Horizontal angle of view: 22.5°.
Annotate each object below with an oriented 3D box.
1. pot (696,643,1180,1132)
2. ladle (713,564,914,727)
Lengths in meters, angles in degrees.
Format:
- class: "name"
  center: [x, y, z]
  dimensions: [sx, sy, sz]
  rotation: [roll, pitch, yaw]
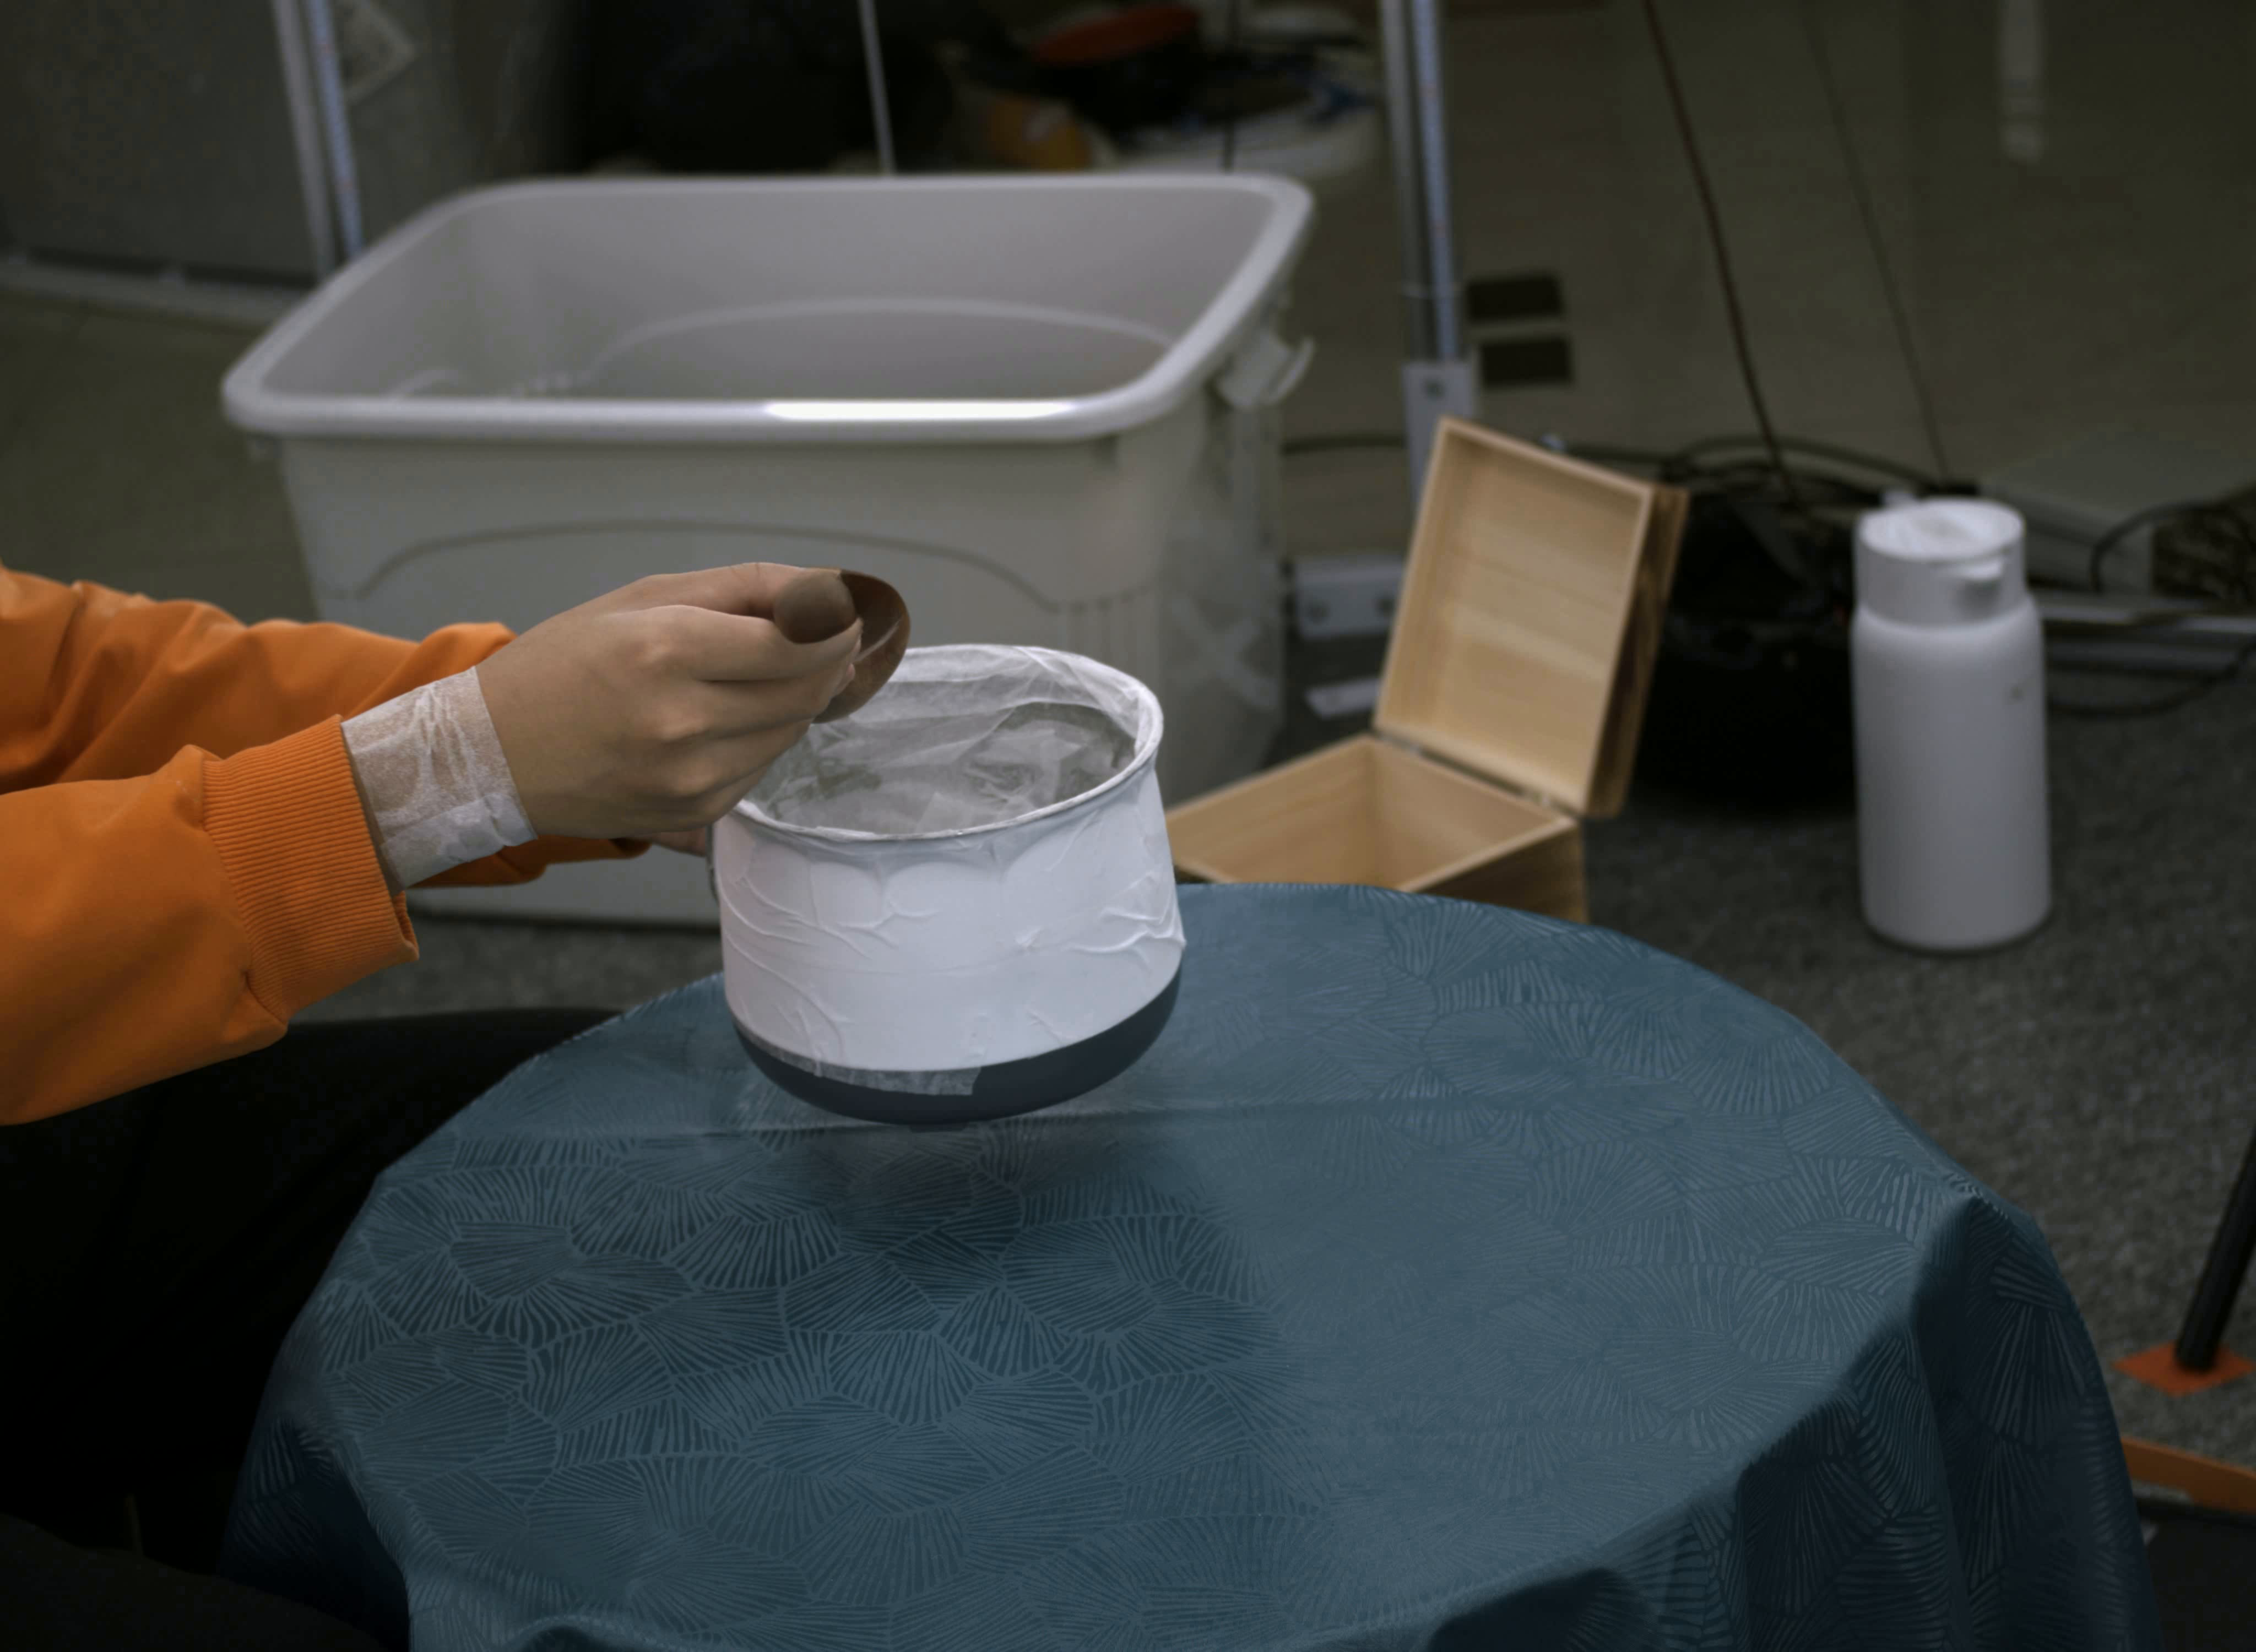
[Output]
- class: "pot"
  center: [-0.088, 0.016, 2.178]
  dimensions: [0.177, 0.139, 0.231]
  rotation: [-24, 32, -35]
- class: "ladle"
  center: [-0.113, -0.076, 1.977]
  dimensions: [0.076, 0.065, 0.261]
  rotation: [-26, -6, -4]
